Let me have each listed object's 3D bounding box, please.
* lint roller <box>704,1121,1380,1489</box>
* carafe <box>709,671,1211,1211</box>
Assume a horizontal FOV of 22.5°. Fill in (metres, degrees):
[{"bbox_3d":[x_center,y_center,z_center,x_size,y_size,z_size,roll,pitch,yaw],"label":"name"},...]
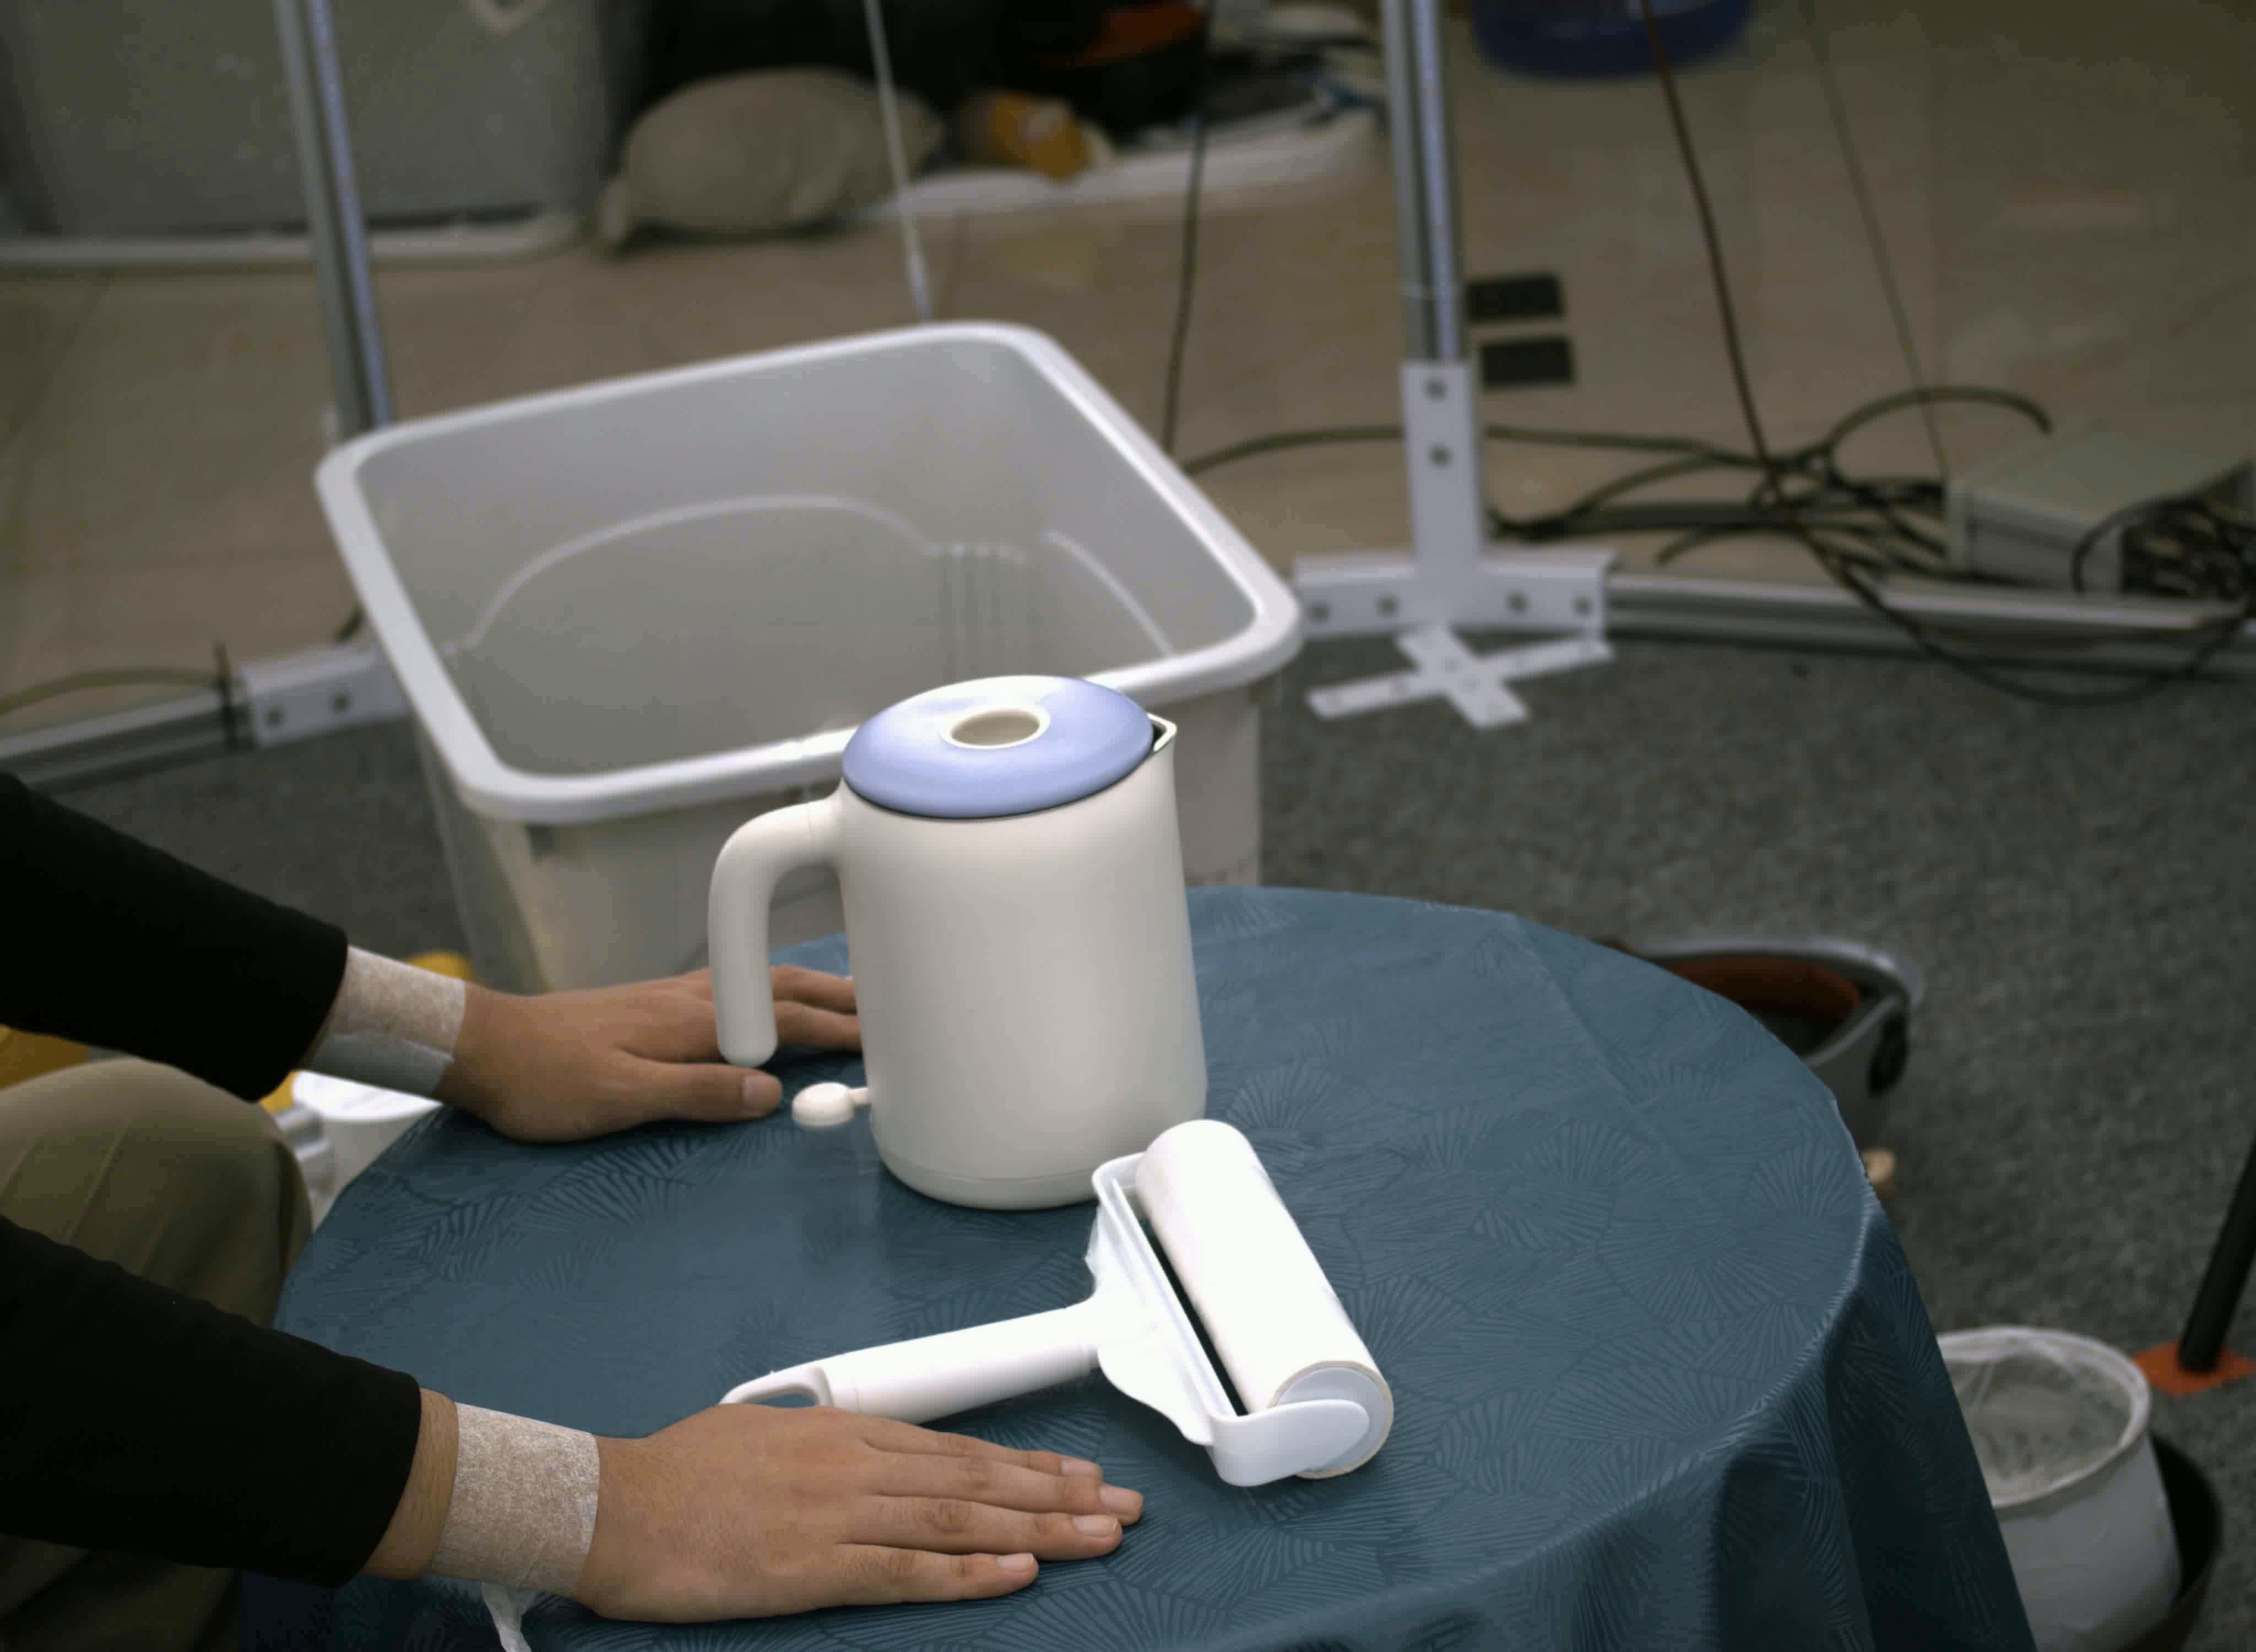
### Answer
[{"bbox_3d":[-0.042,0.186,2.007,0.225,0.049,0.200,-13,27,-9],"label":"lint roller"},{"bbox_3d":[-0.065,0.048,2.154,0.191,0.185,0.130,-11,25,-4],"label":"carafe"}]
